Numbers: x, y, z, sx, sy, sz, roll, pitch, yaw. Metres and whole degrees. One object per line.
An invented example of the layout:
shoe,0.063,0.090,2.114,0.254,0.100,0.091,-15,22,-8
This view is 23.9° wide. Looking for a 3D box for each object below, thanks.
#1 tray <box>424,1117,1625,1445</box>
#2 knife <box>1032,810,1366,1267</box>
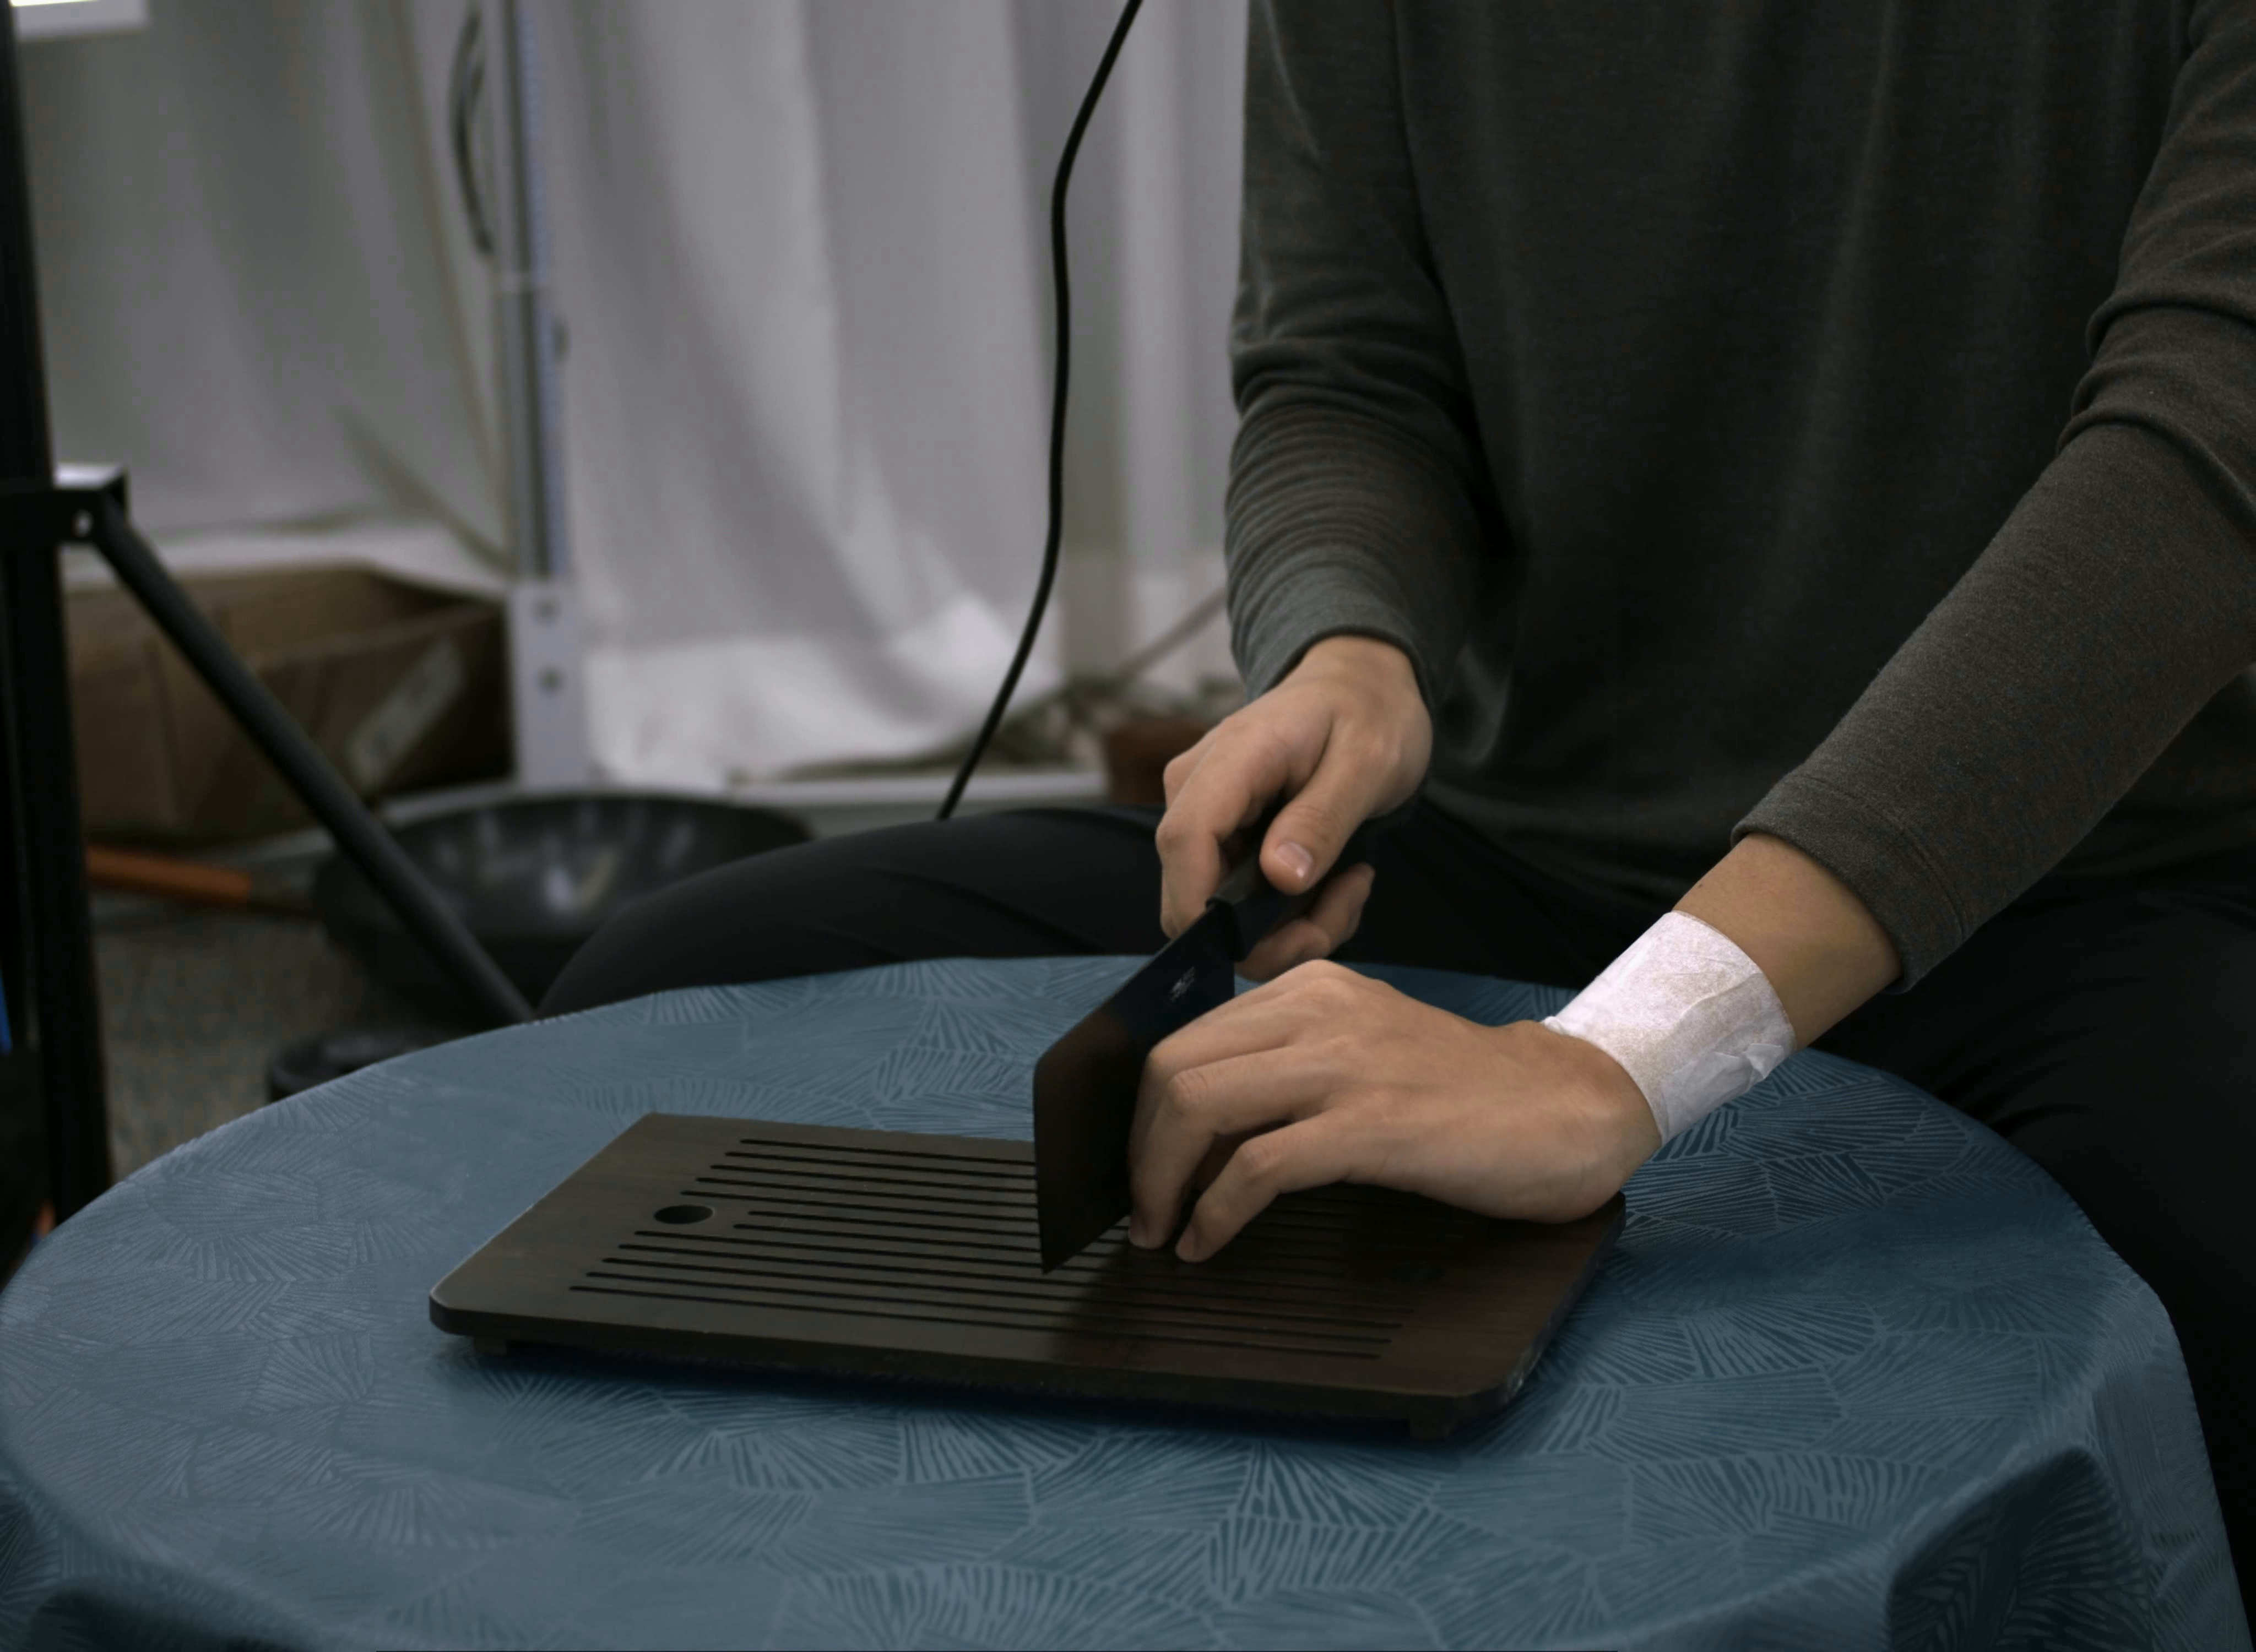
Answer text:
tray,-0.026,0.124,1.474,0.309,0.018,0.168,4,16,19
knife,0.021,0.054,1.548,0.021,0.081,0.299,4,19,18
